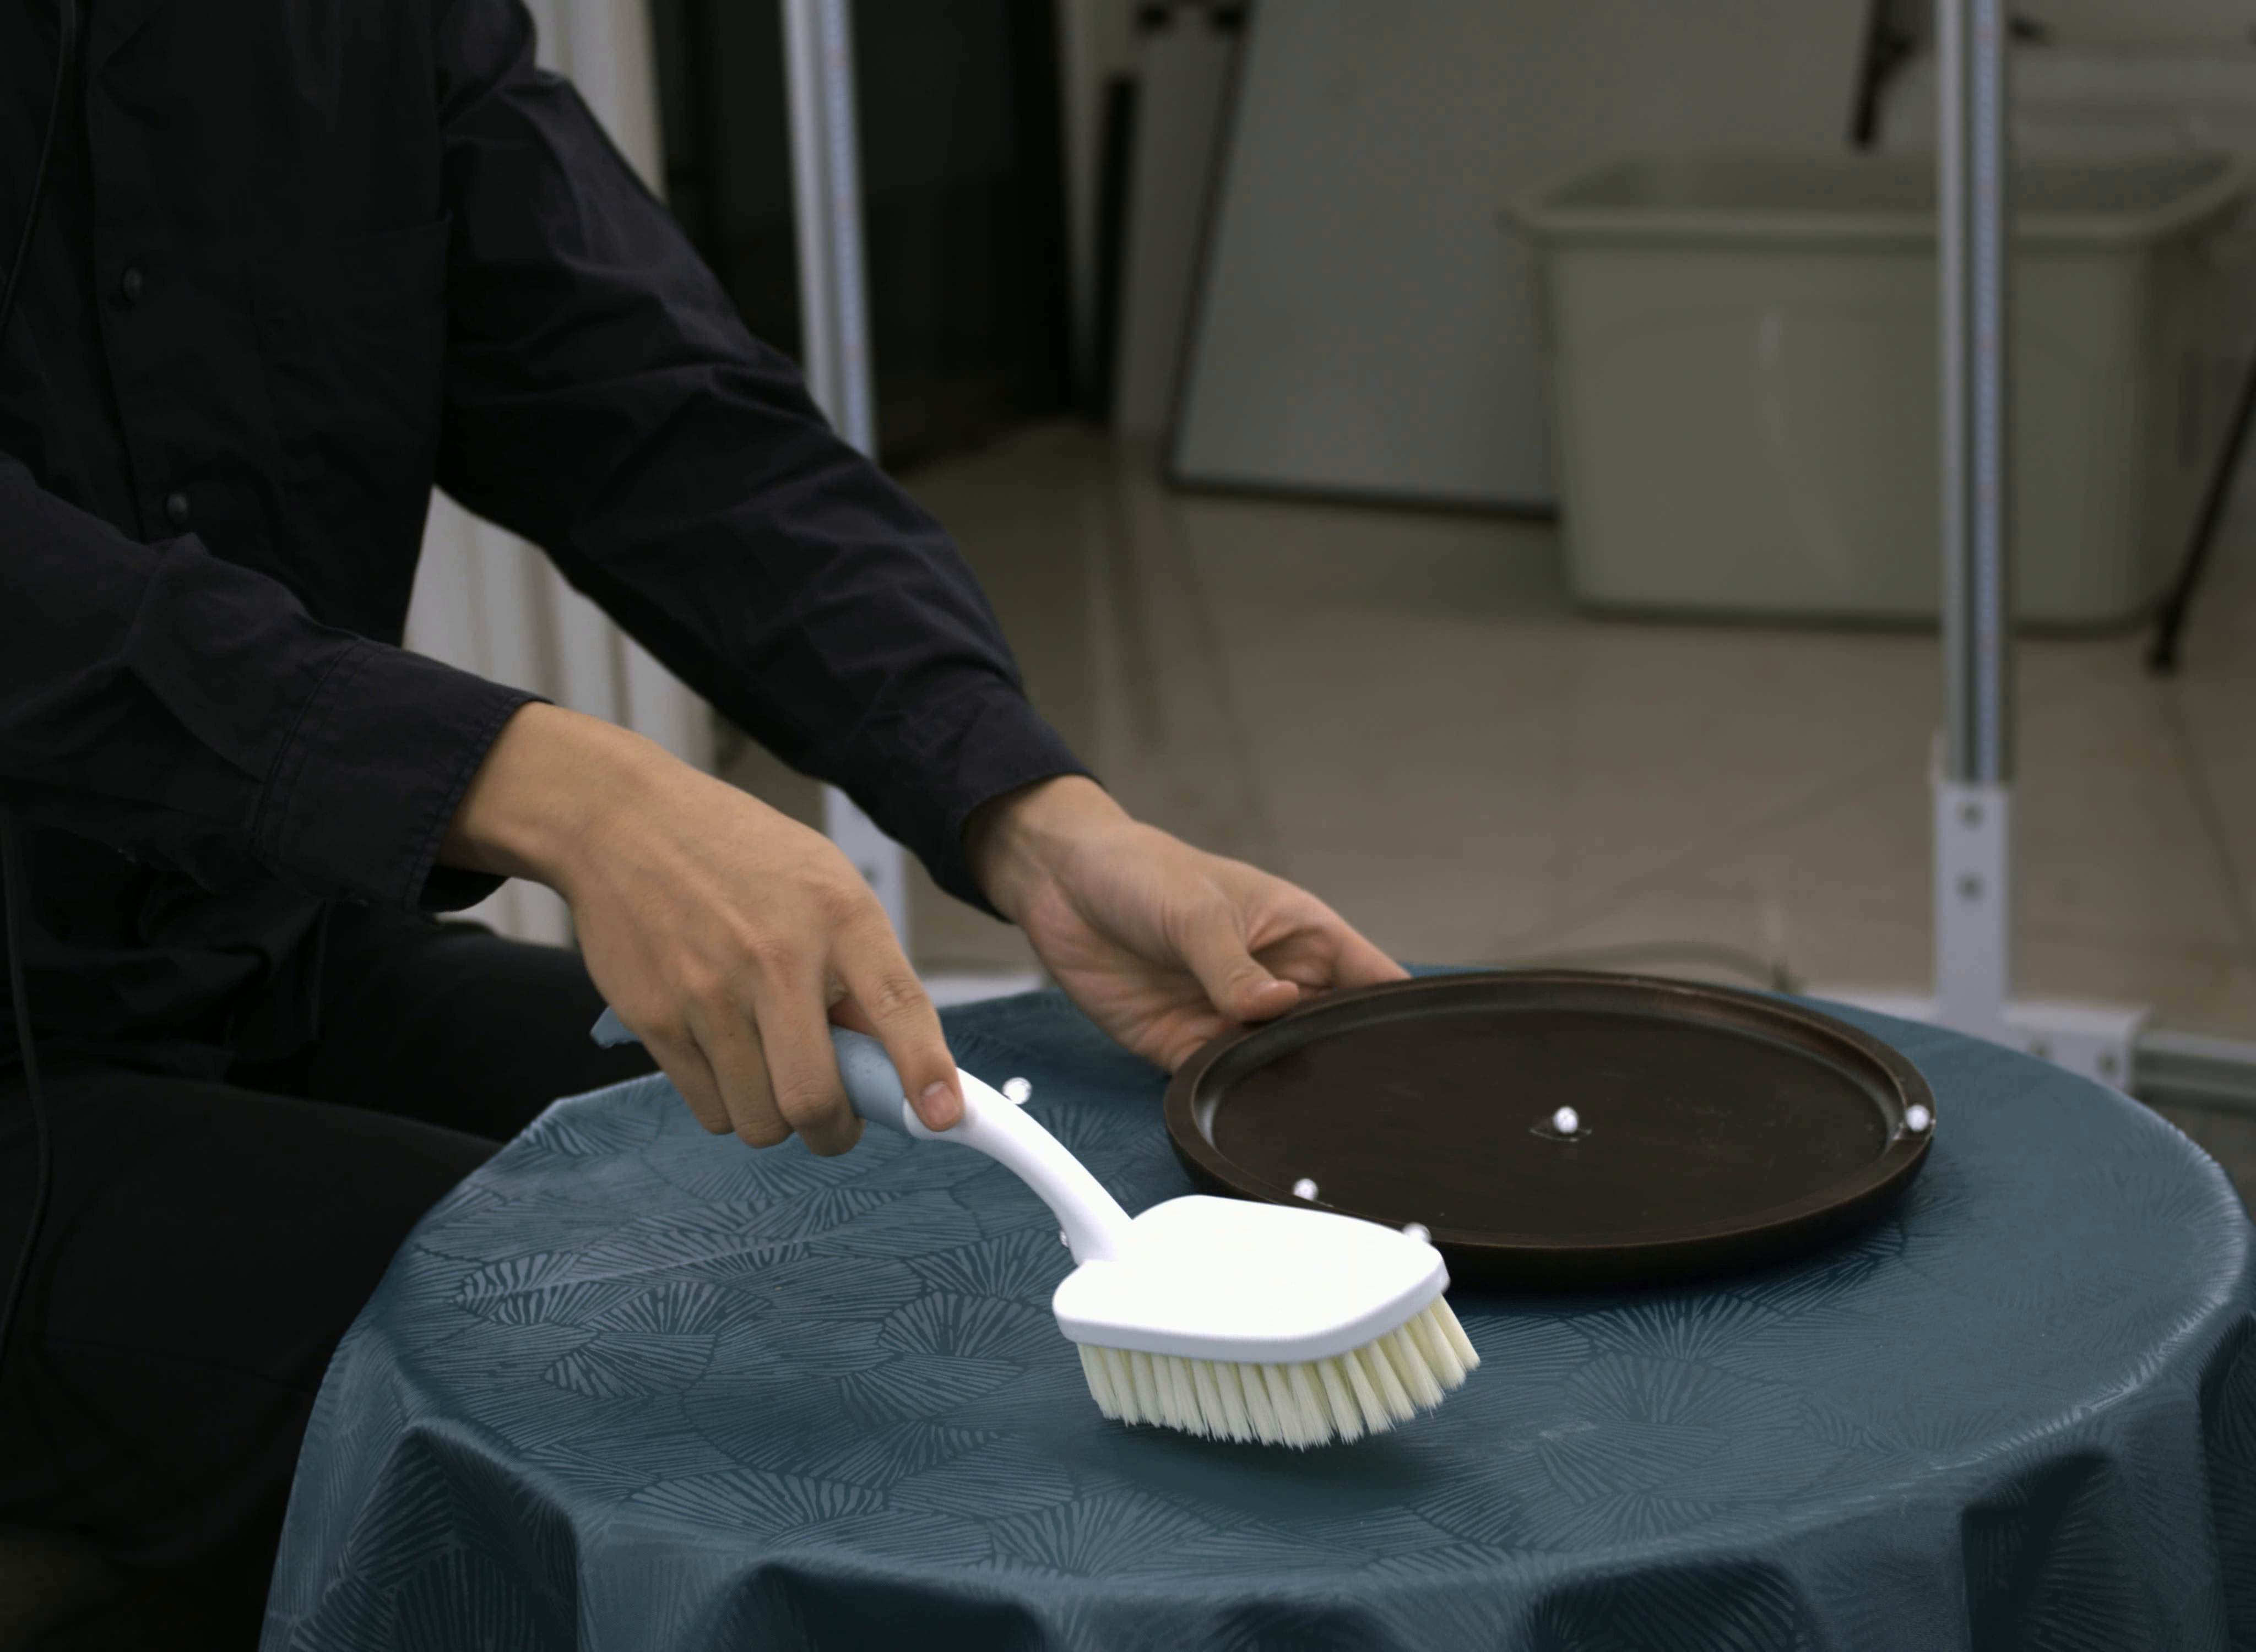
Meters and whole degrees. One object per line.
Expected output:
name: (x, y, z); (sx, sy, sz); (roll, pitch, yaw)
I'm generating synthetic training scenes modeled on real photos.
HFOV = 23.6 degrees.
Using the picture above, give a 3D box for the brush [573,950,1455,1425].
brush: (-0.036, 0.114, 1.599); (0.328, 0.085, 0.081); (16, 2, 37)

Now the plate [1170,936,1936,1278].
plate: (0.139, 0.092, 1.763); (0.251, 0.029, 0.255); (-3, 19, 0)
